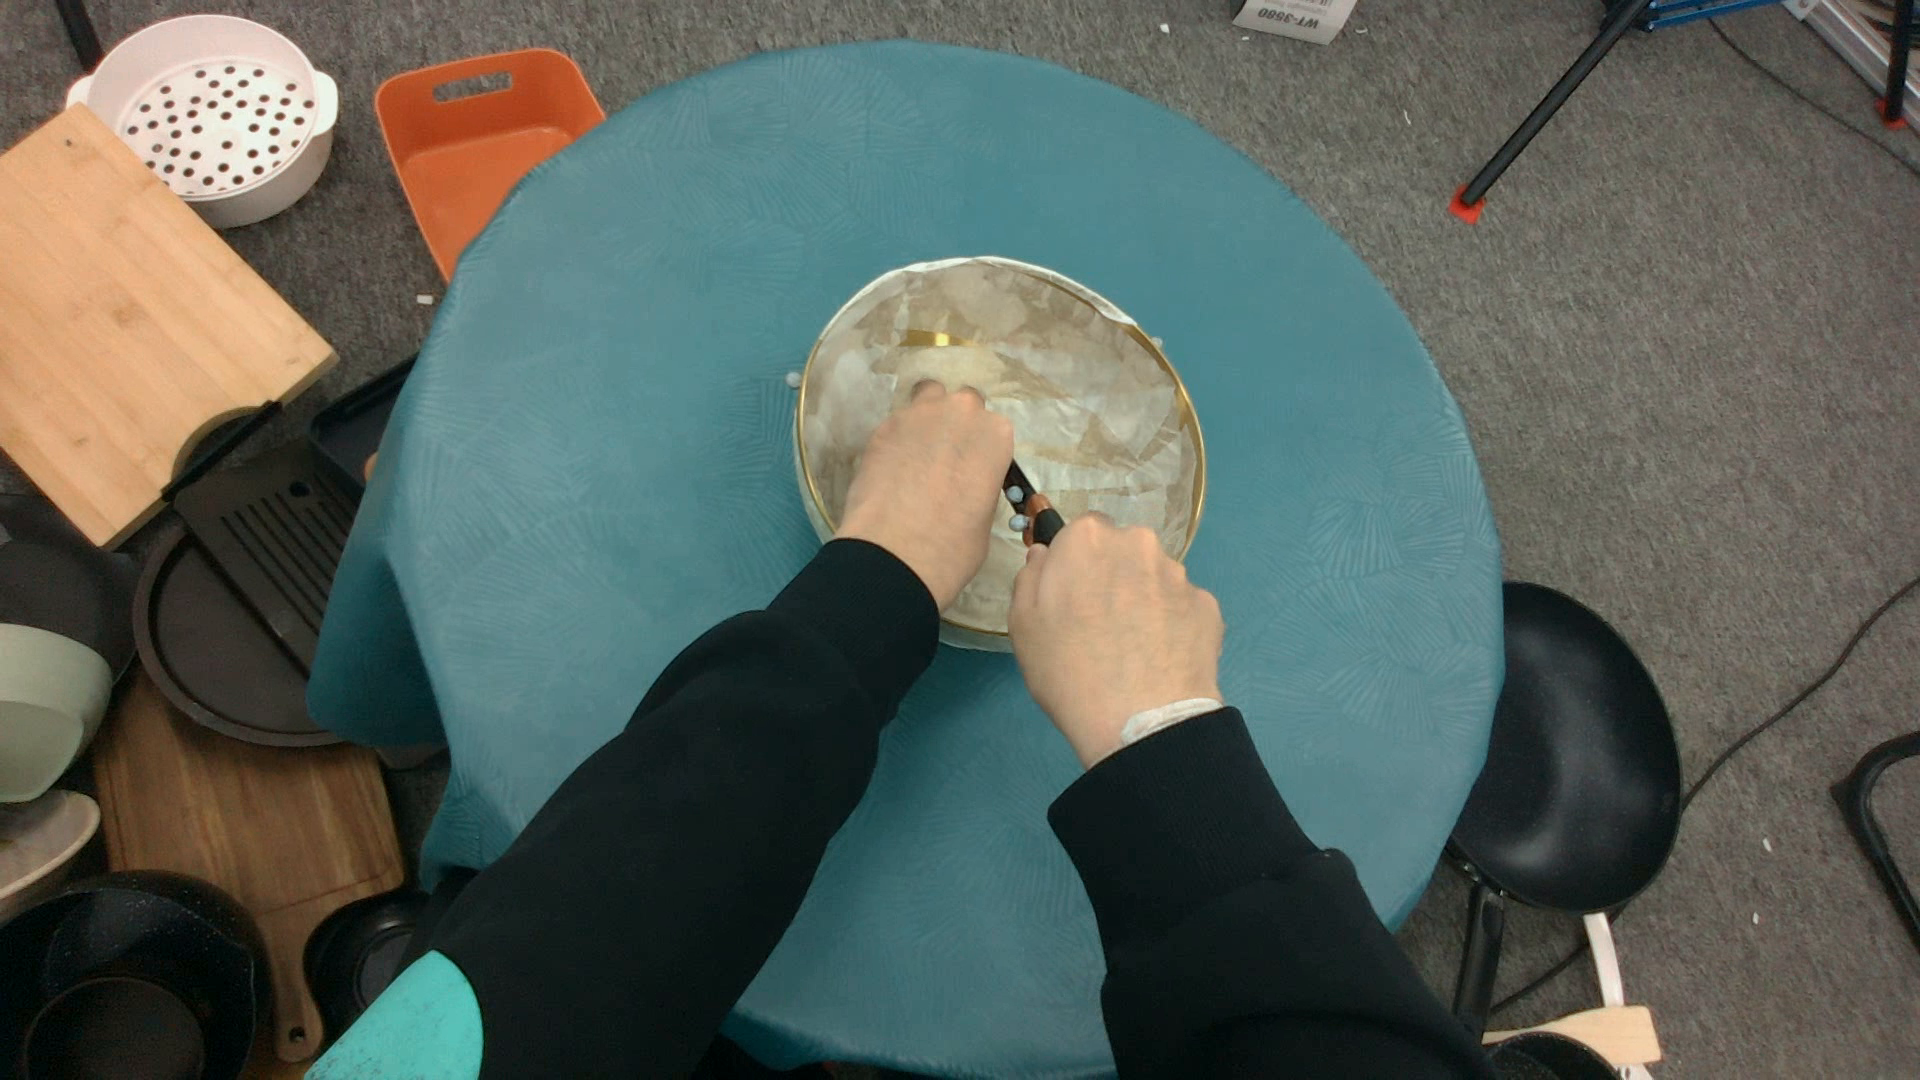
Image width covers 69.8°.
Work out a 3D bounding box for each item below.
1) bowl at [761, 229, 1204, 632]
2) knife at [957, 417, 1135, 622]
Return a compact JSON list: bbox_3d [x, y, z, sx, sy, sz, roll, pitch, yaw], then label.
[{"bbox_3d":[0.006,-0.040,0.677,0.215,0.094,0.215,7,65,-14],"label":"bowl"},{"bbox_3d":[0.032,-0.021,0.642,0.017,0.026,0.226,-6,28,-16],"label":"knife"}]
